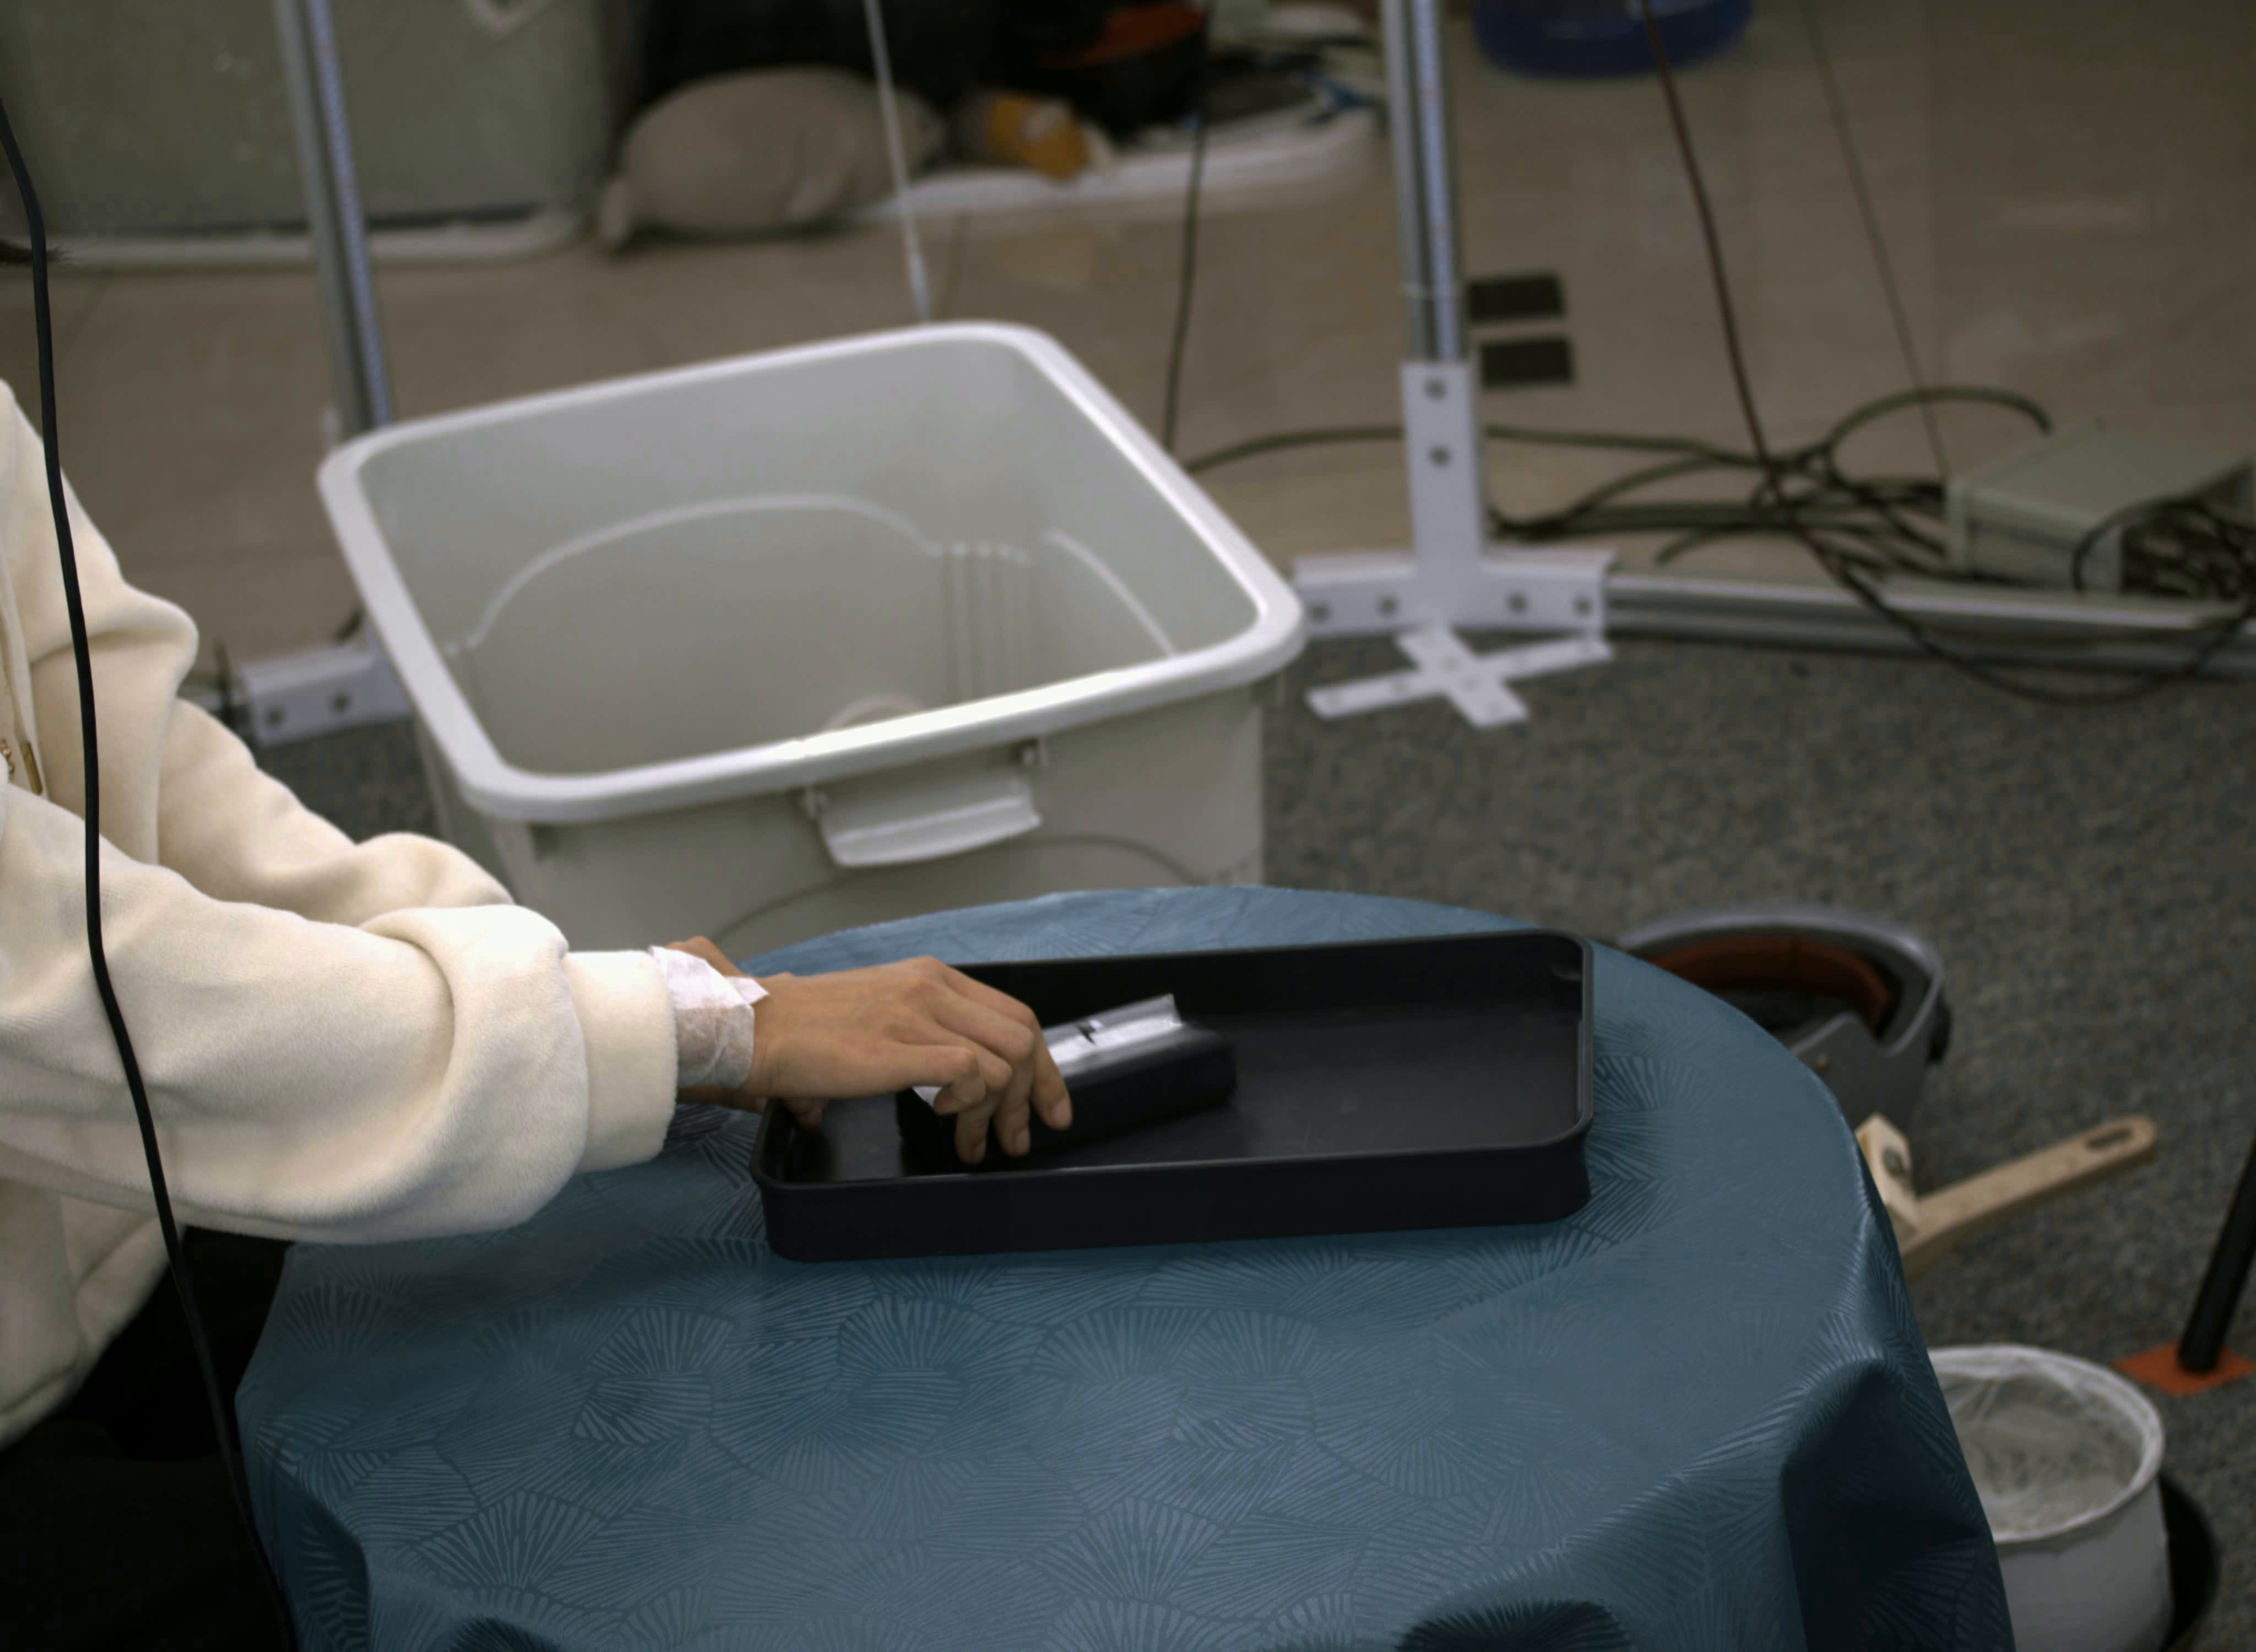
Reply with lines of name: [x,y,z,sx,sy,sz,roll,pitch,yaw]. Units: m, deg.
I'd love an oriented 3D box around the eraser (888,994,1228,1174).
eraser: [-0.026,0.099,2.197,0.125,0.031,0.053,-17,21,-21]

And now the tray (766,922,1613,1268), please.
tray: [0.027,0.102,2.178,0.317,0.037,0.181,-5,25,5]
